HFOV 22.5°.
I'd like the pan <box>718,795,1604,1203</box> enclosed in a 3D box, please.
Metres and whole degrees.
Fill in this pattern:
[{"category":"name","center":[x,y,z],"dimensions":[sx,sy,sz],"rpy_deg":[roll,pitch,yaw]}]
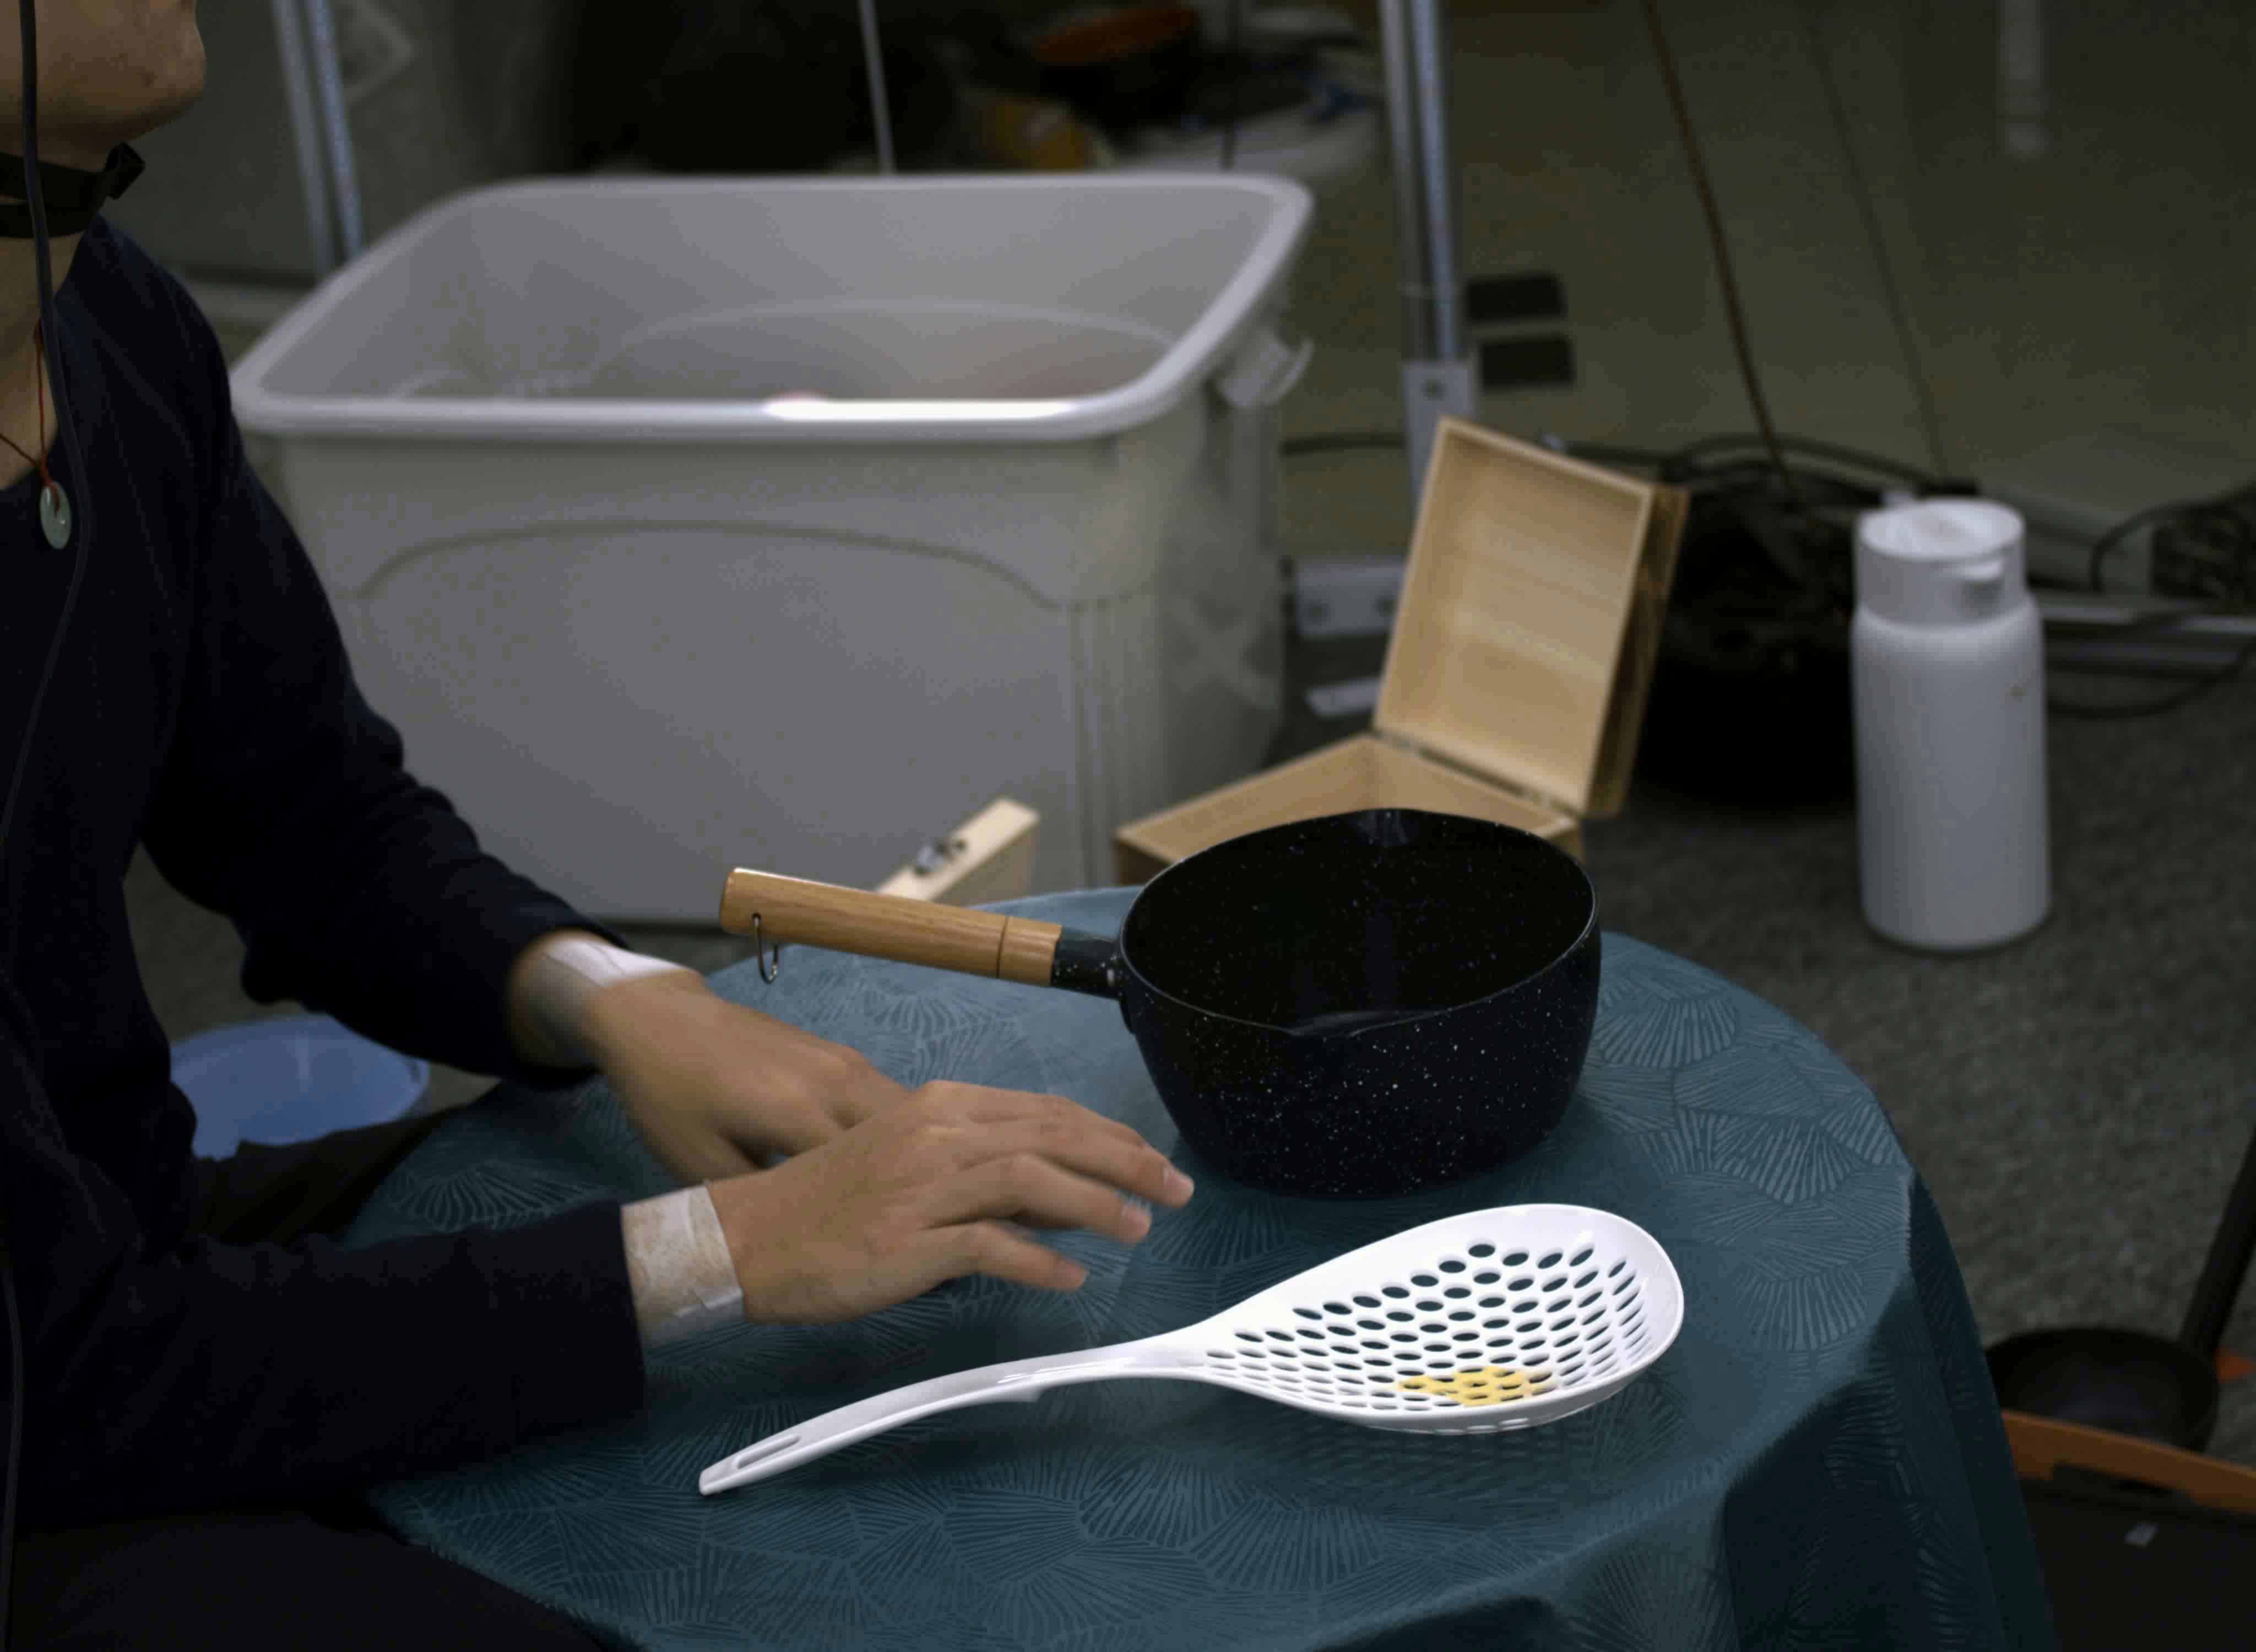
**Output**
[{"category":"pan","center":[0.012,0.063,2.177],"dimensions":[0.342,0.110,0.204],"rpy_deg":[-1,27,9]}]

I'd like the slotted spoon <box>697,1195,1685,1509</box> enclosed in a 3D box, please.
[{"category":"slotted spoon","center":[0.021,0.193,1.974],"dimensions":[0.347,0.051,0.135],"rpy_deg":[-6,27,-2]}]
